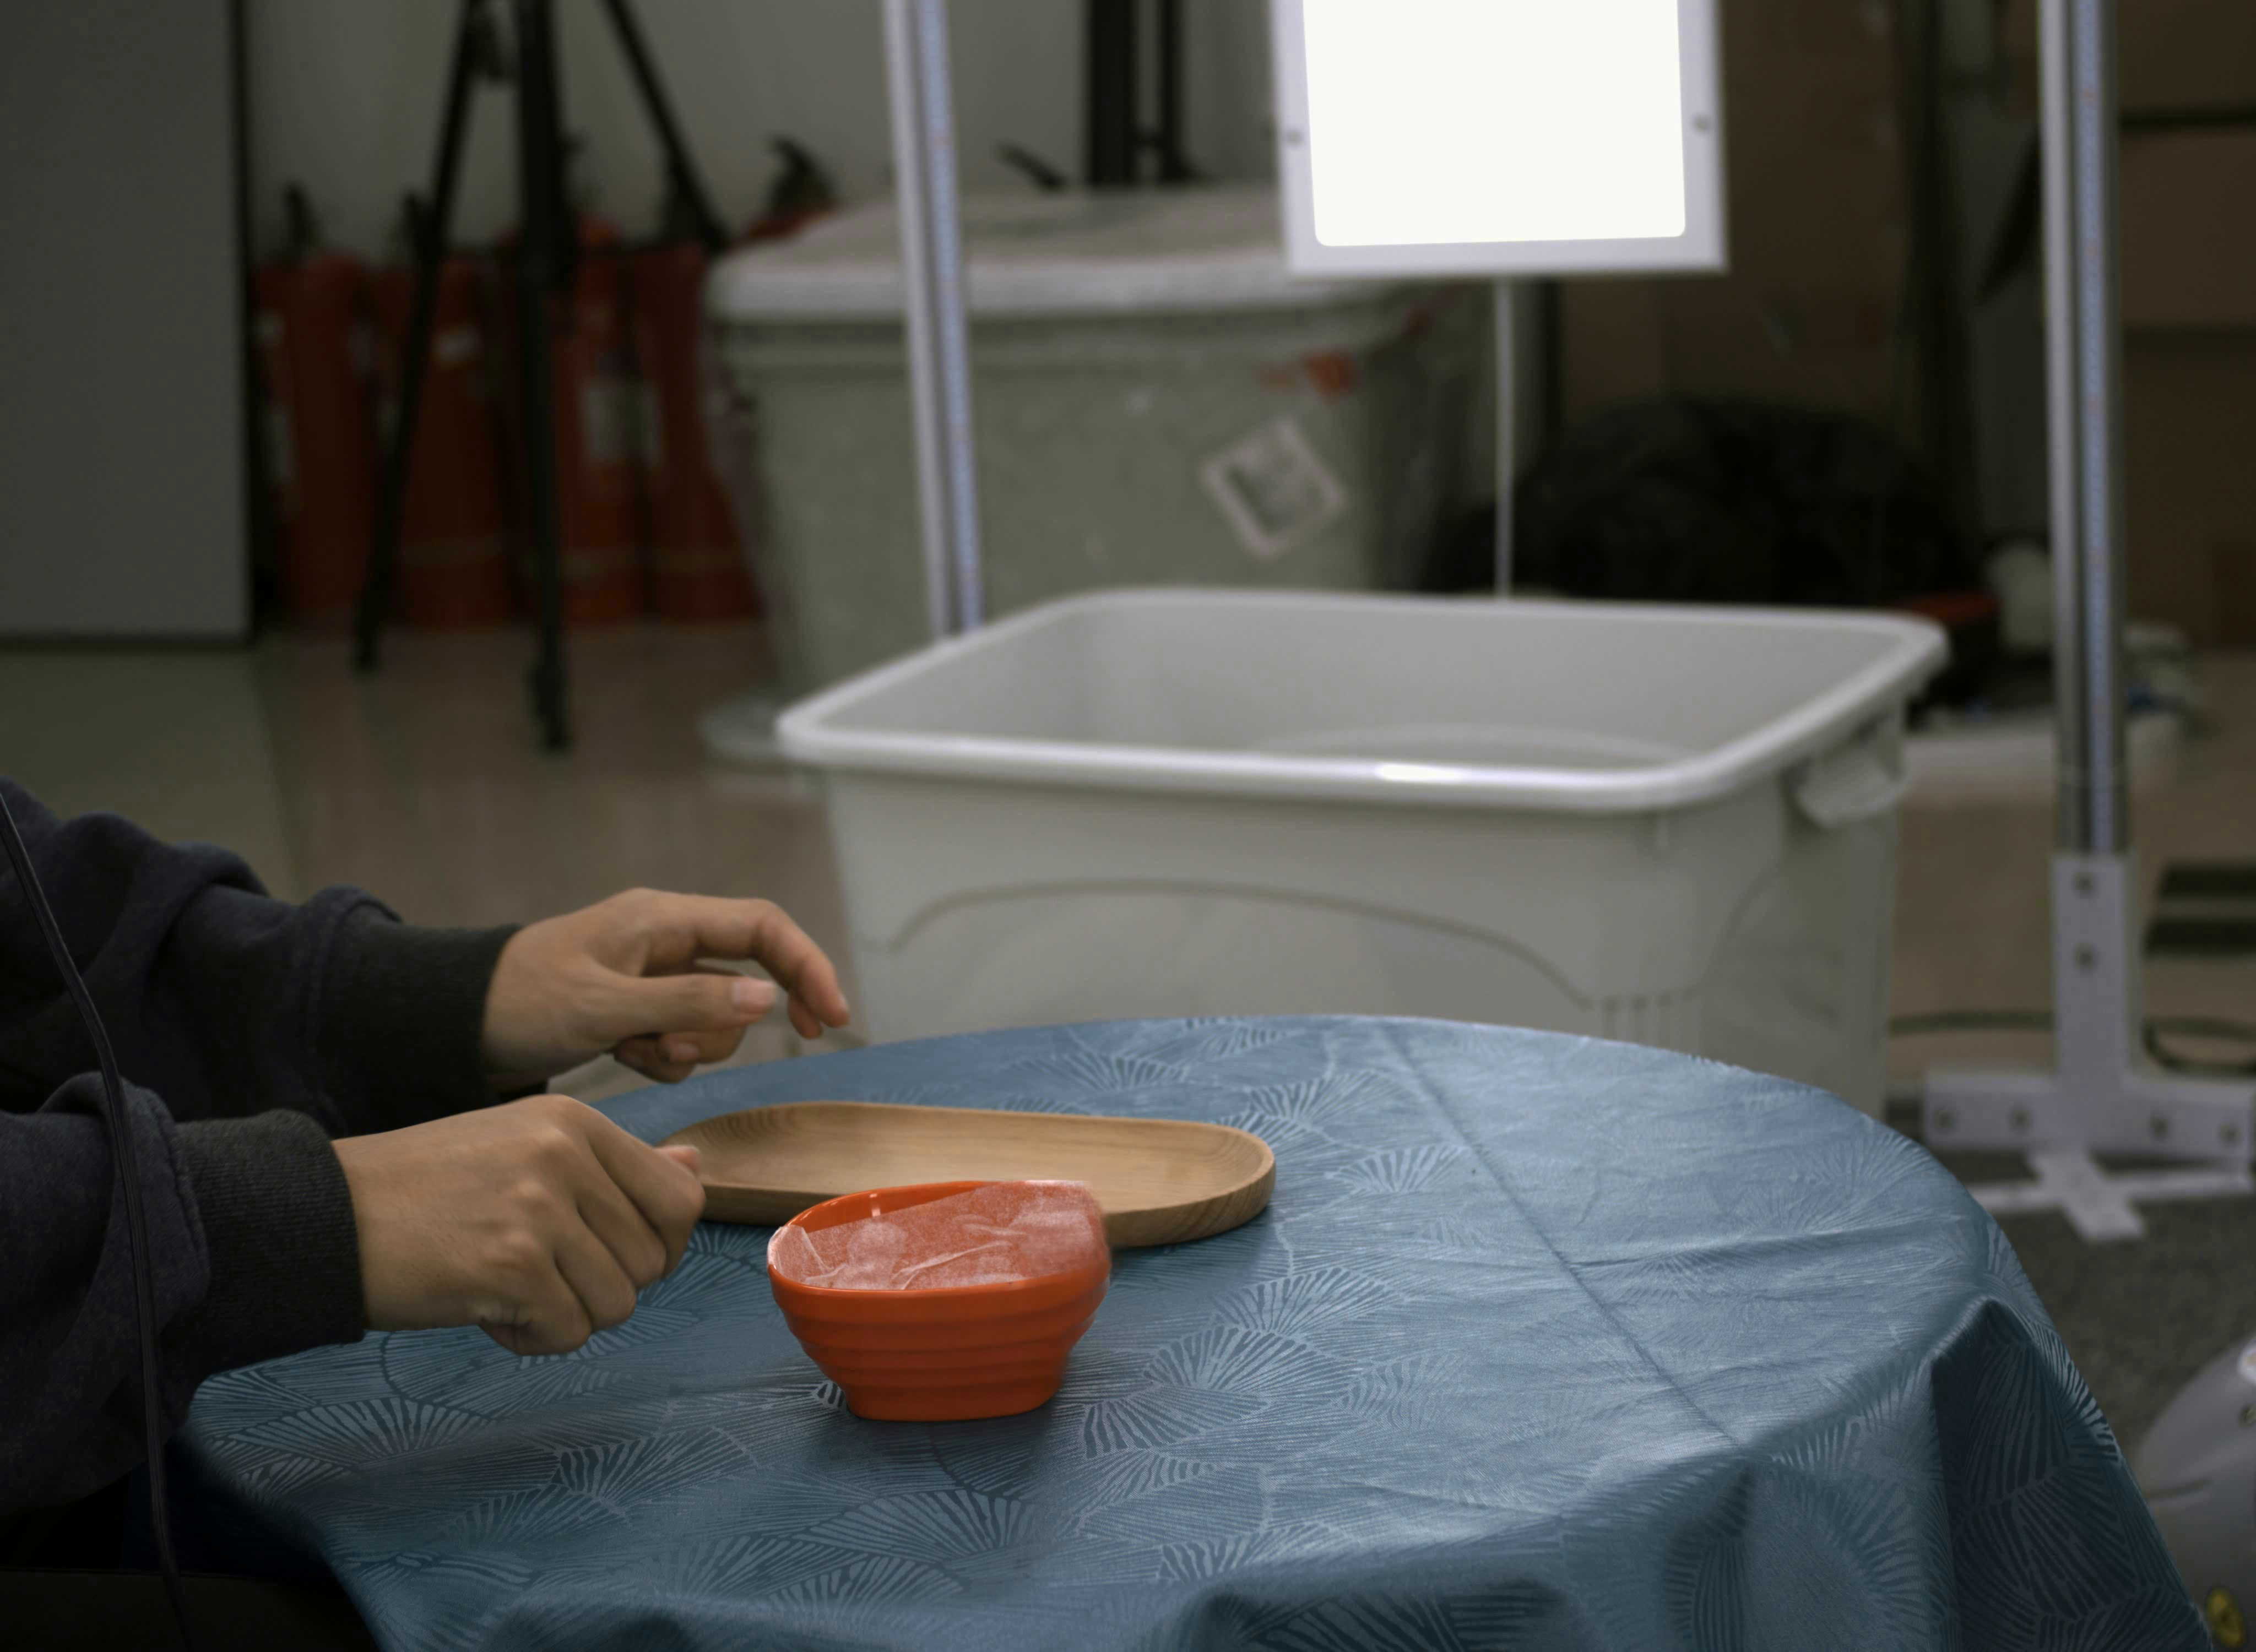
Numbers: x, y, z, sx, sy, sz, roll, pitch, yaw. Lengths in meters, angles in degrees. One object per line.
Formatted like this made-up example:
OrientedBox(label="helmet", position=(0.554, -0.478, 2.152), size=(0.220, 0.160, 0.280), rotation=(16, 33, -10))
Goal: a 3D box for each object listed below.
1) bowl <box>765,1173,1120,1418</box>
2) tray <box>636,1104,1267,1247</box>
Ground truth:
OrientedBox(label="bowl", position=(-0.056, 0.149, 1.714), size=(0.118, 0.051, 0.119), rotation=(-4, 15, 0))
OrientedBox(label="tray", position=(-0.062, 0.121, 1.908), size=(0.235, 0.020, 0.099), rotation=(0, 14, 25))
